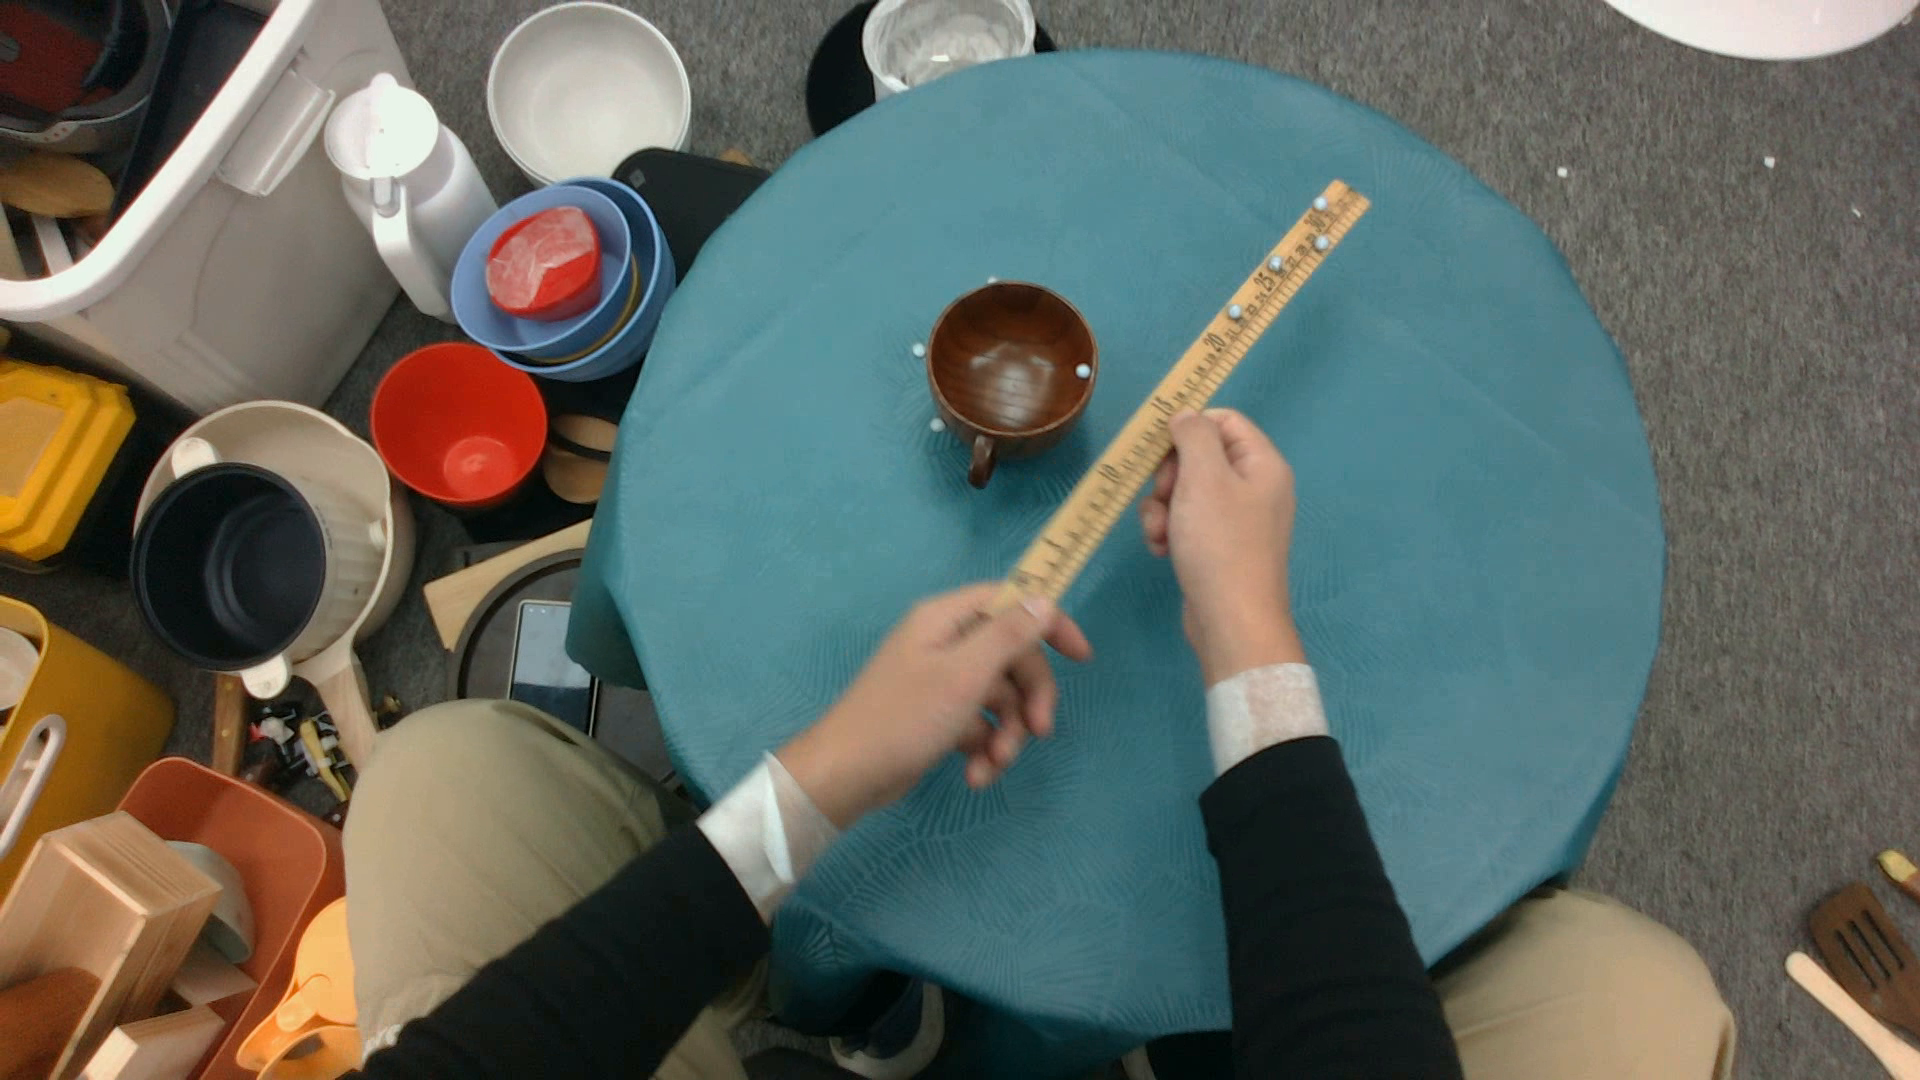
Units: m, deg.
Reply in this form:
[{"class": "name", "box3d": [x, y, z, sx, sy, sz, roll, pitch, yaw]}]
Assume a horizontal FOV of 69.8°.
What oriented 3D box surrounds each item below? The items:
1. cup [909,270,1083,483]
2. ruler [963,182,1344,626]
[{"class": "cup", "box3d": [0.015, -0.084, 0.776, 0.096, 0.067, 0.120, 16, 71, 3]}, {"class": "ruler", "box3d": [0.111, -0.083, 0.721, 0.027, 0.022, 0.333, 34, 66, 15]}]
